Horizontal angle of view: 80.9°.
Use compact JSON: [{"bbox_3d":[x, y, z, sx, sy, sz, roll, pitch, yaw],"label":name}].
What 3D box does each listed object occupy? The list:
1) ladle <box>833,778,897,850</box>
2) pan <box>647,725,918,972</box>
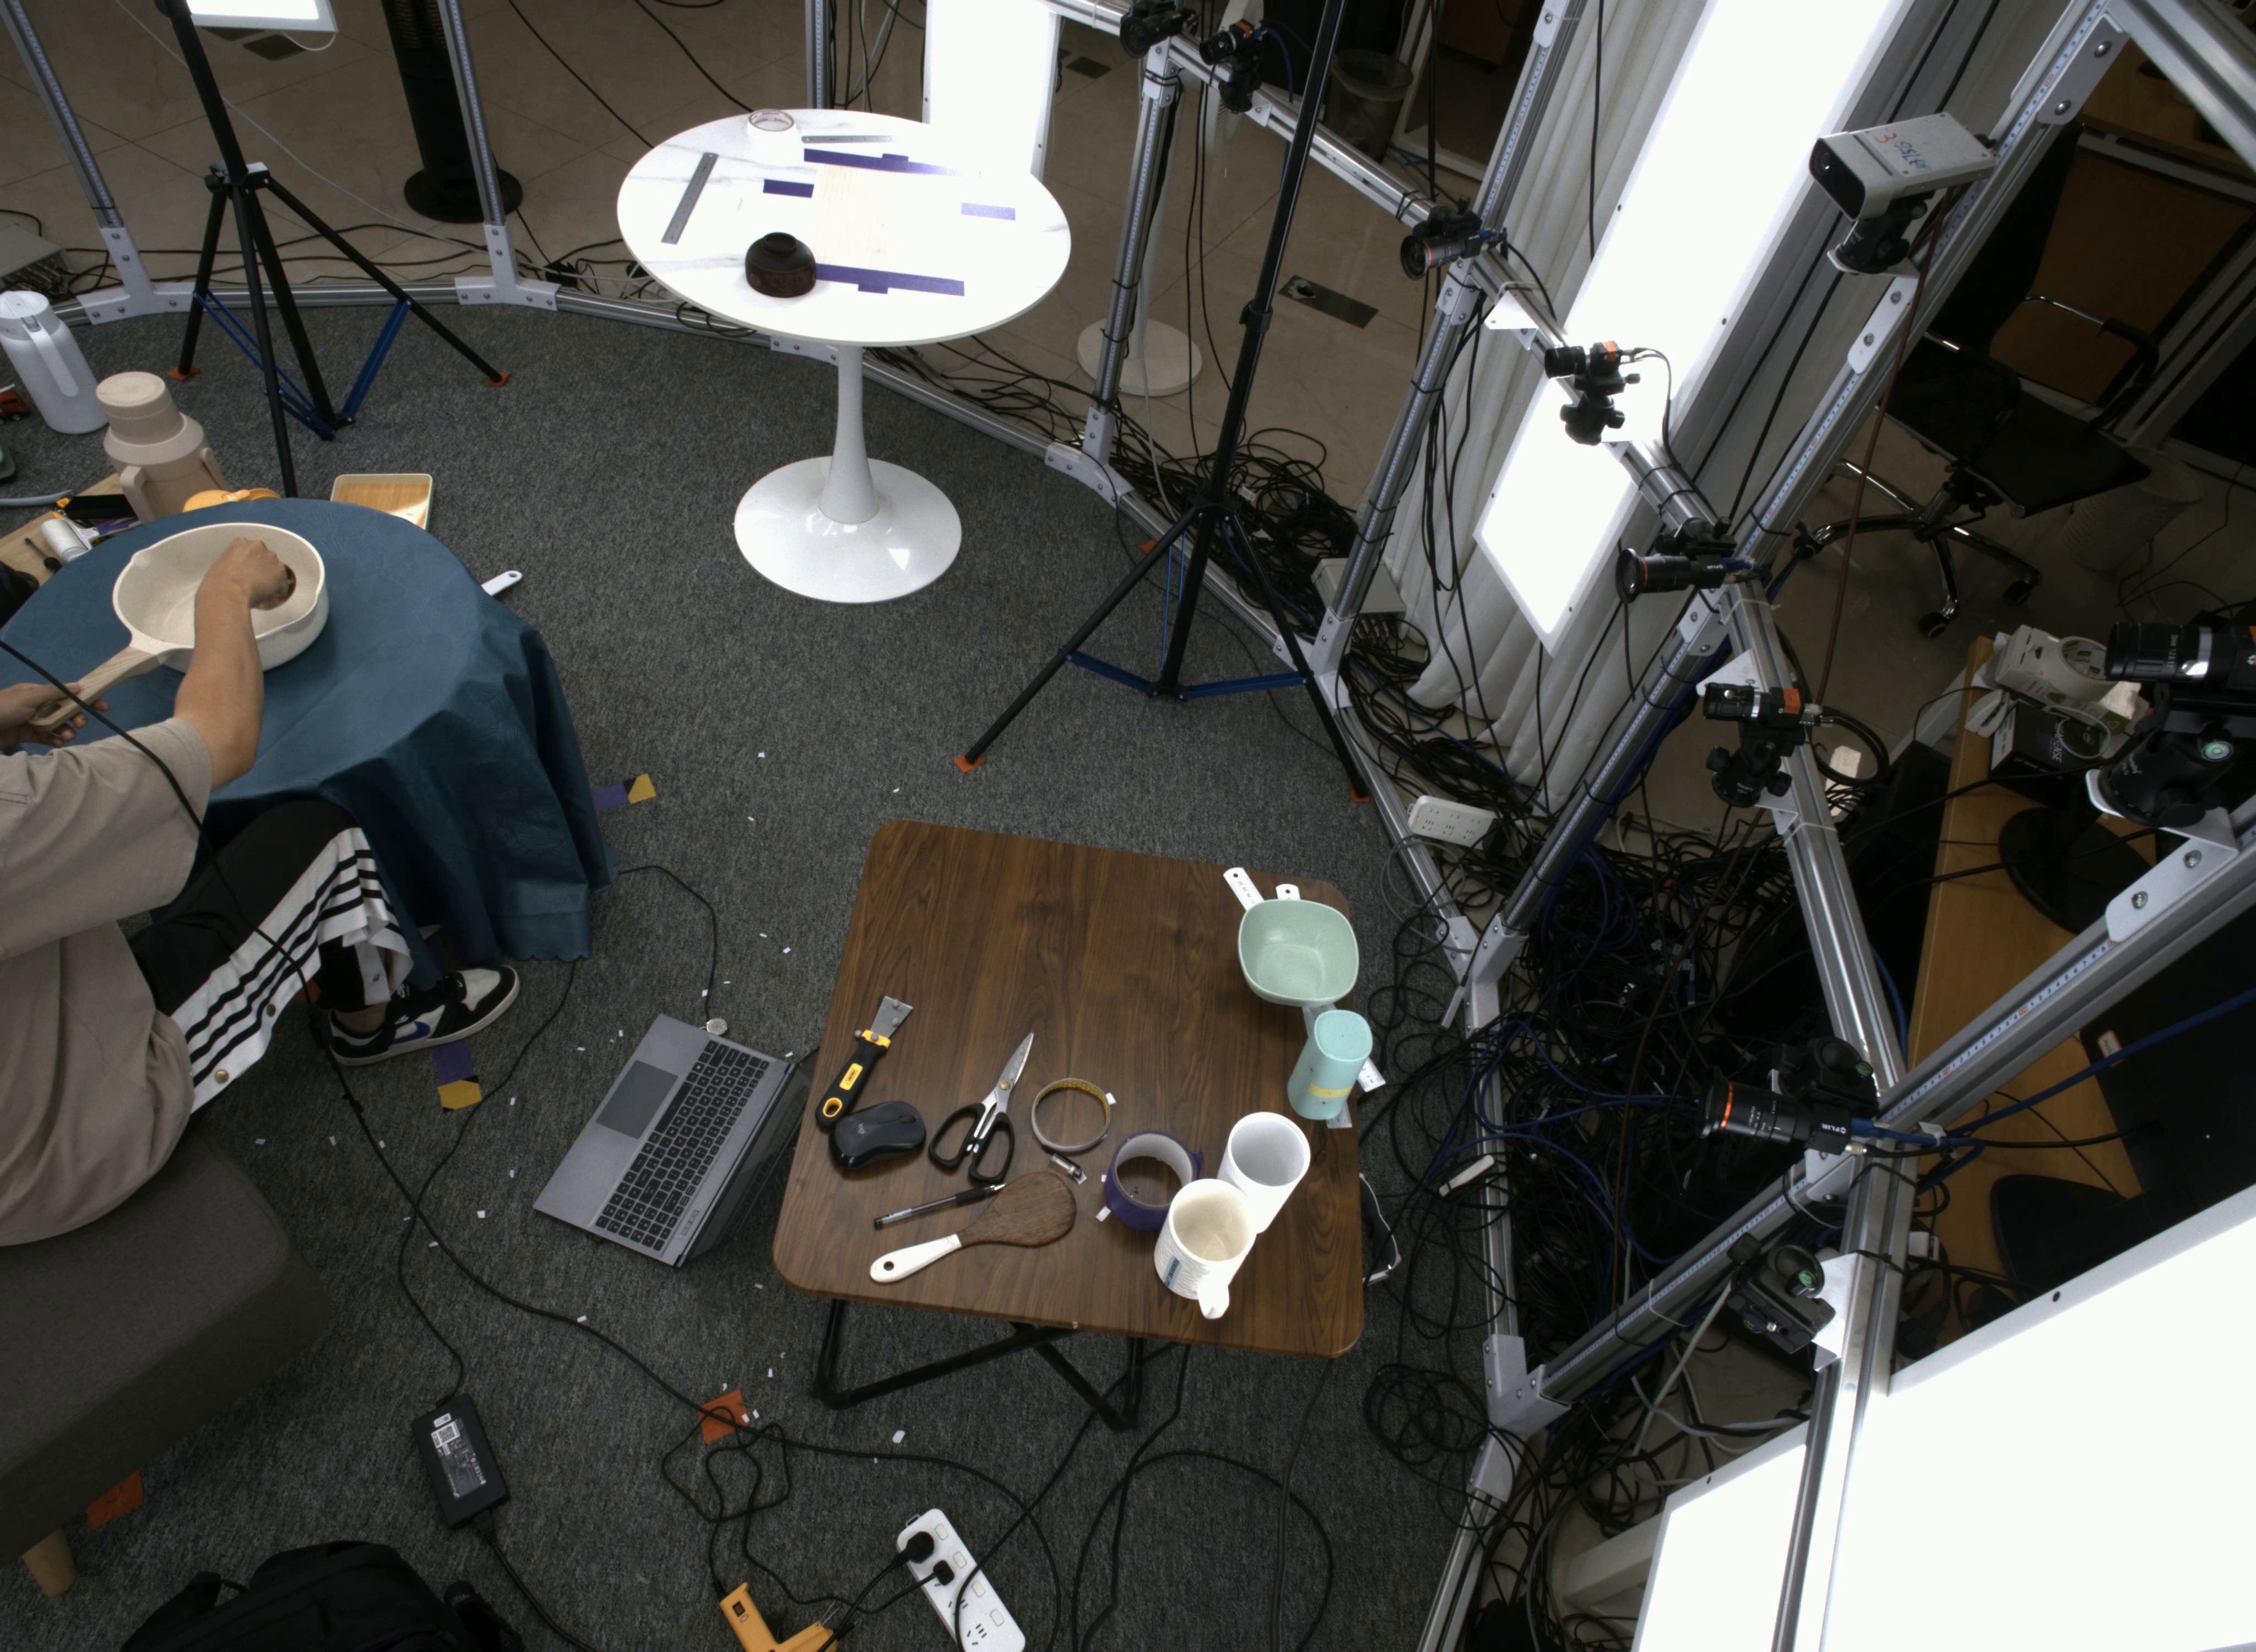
[{"bbox_3d":[-0.313,-0.020,1.572,0.082,0.269,0.078,-19,97,-13],"label":"ladle"},{"bbox_3d":[-0.446,0.044,1.633,0.259,0.104,0.433,31,54,9],"label":"pan"}]
